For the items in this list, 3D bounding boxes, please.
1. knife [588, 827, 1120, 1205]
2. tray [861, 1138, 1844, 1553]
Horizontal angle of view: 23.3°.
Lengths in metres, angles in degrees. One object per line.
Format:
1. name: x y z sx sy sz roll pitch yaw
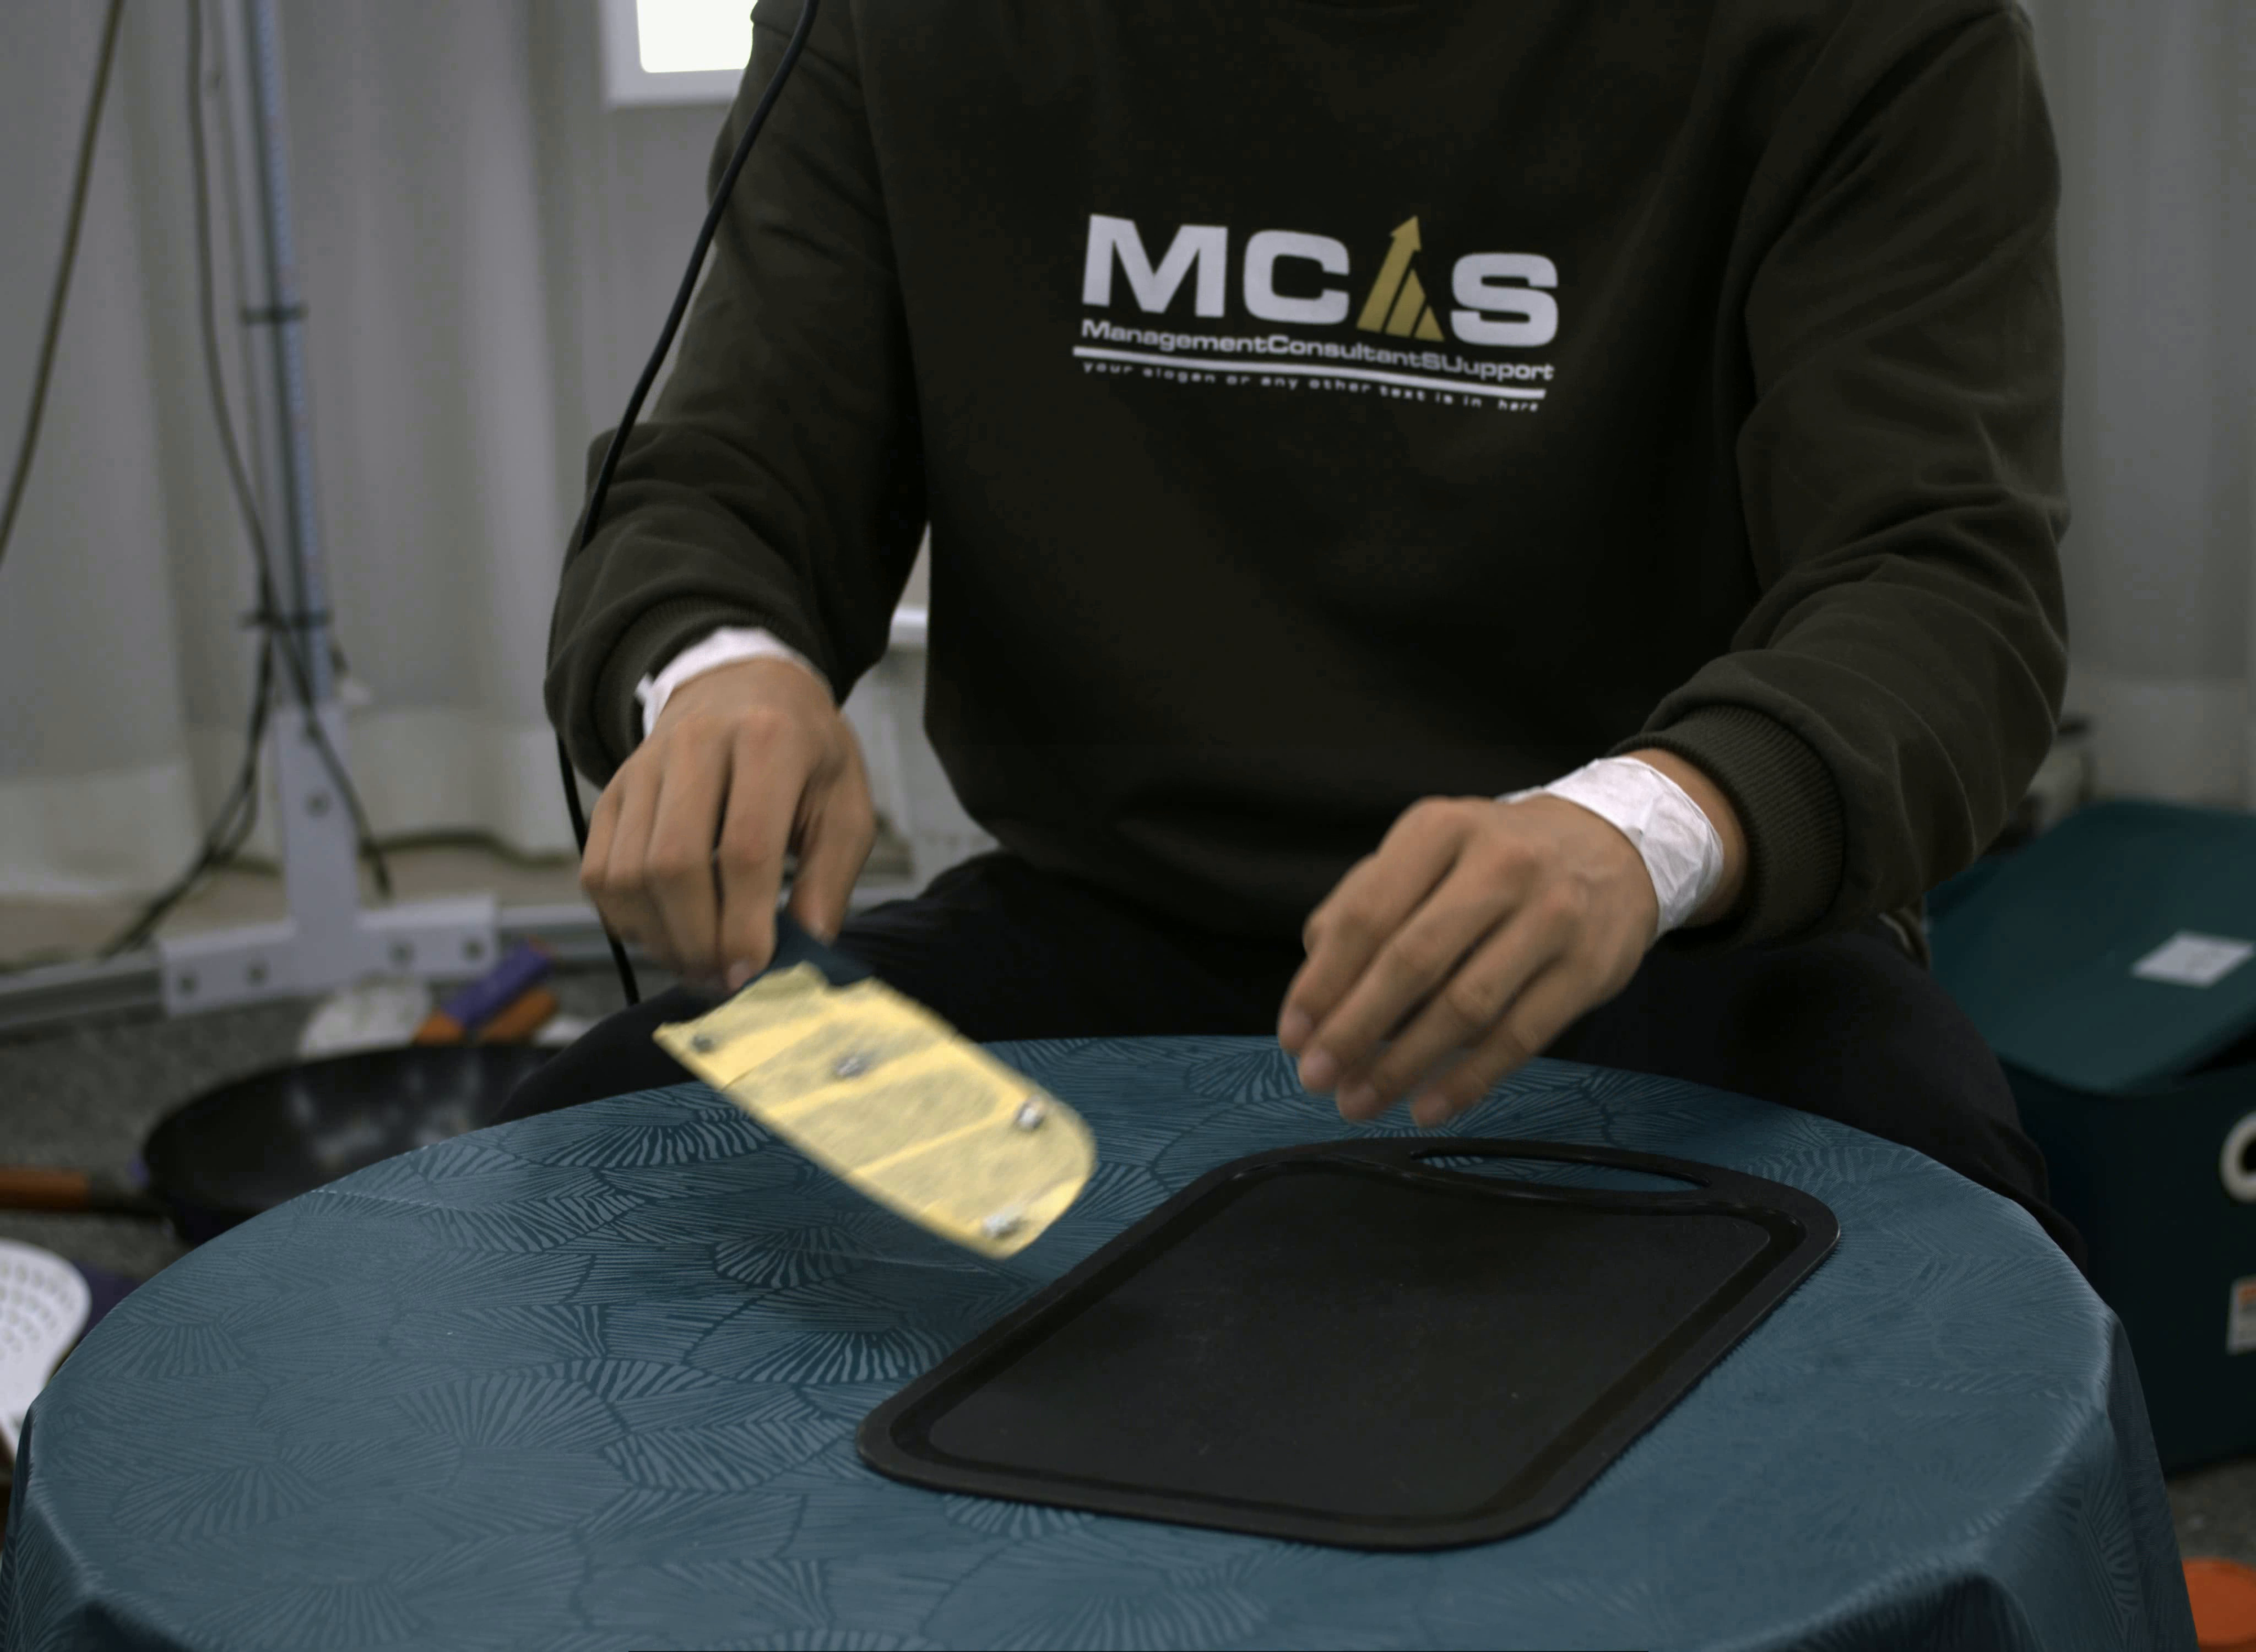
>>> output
1. knife: -0.096 0.058 1.672 0.081 0.027 0.292 -16 28 -30
2. tray: 0.074 0.141 1.589 0.211 0.010 0.326 5 17 26
